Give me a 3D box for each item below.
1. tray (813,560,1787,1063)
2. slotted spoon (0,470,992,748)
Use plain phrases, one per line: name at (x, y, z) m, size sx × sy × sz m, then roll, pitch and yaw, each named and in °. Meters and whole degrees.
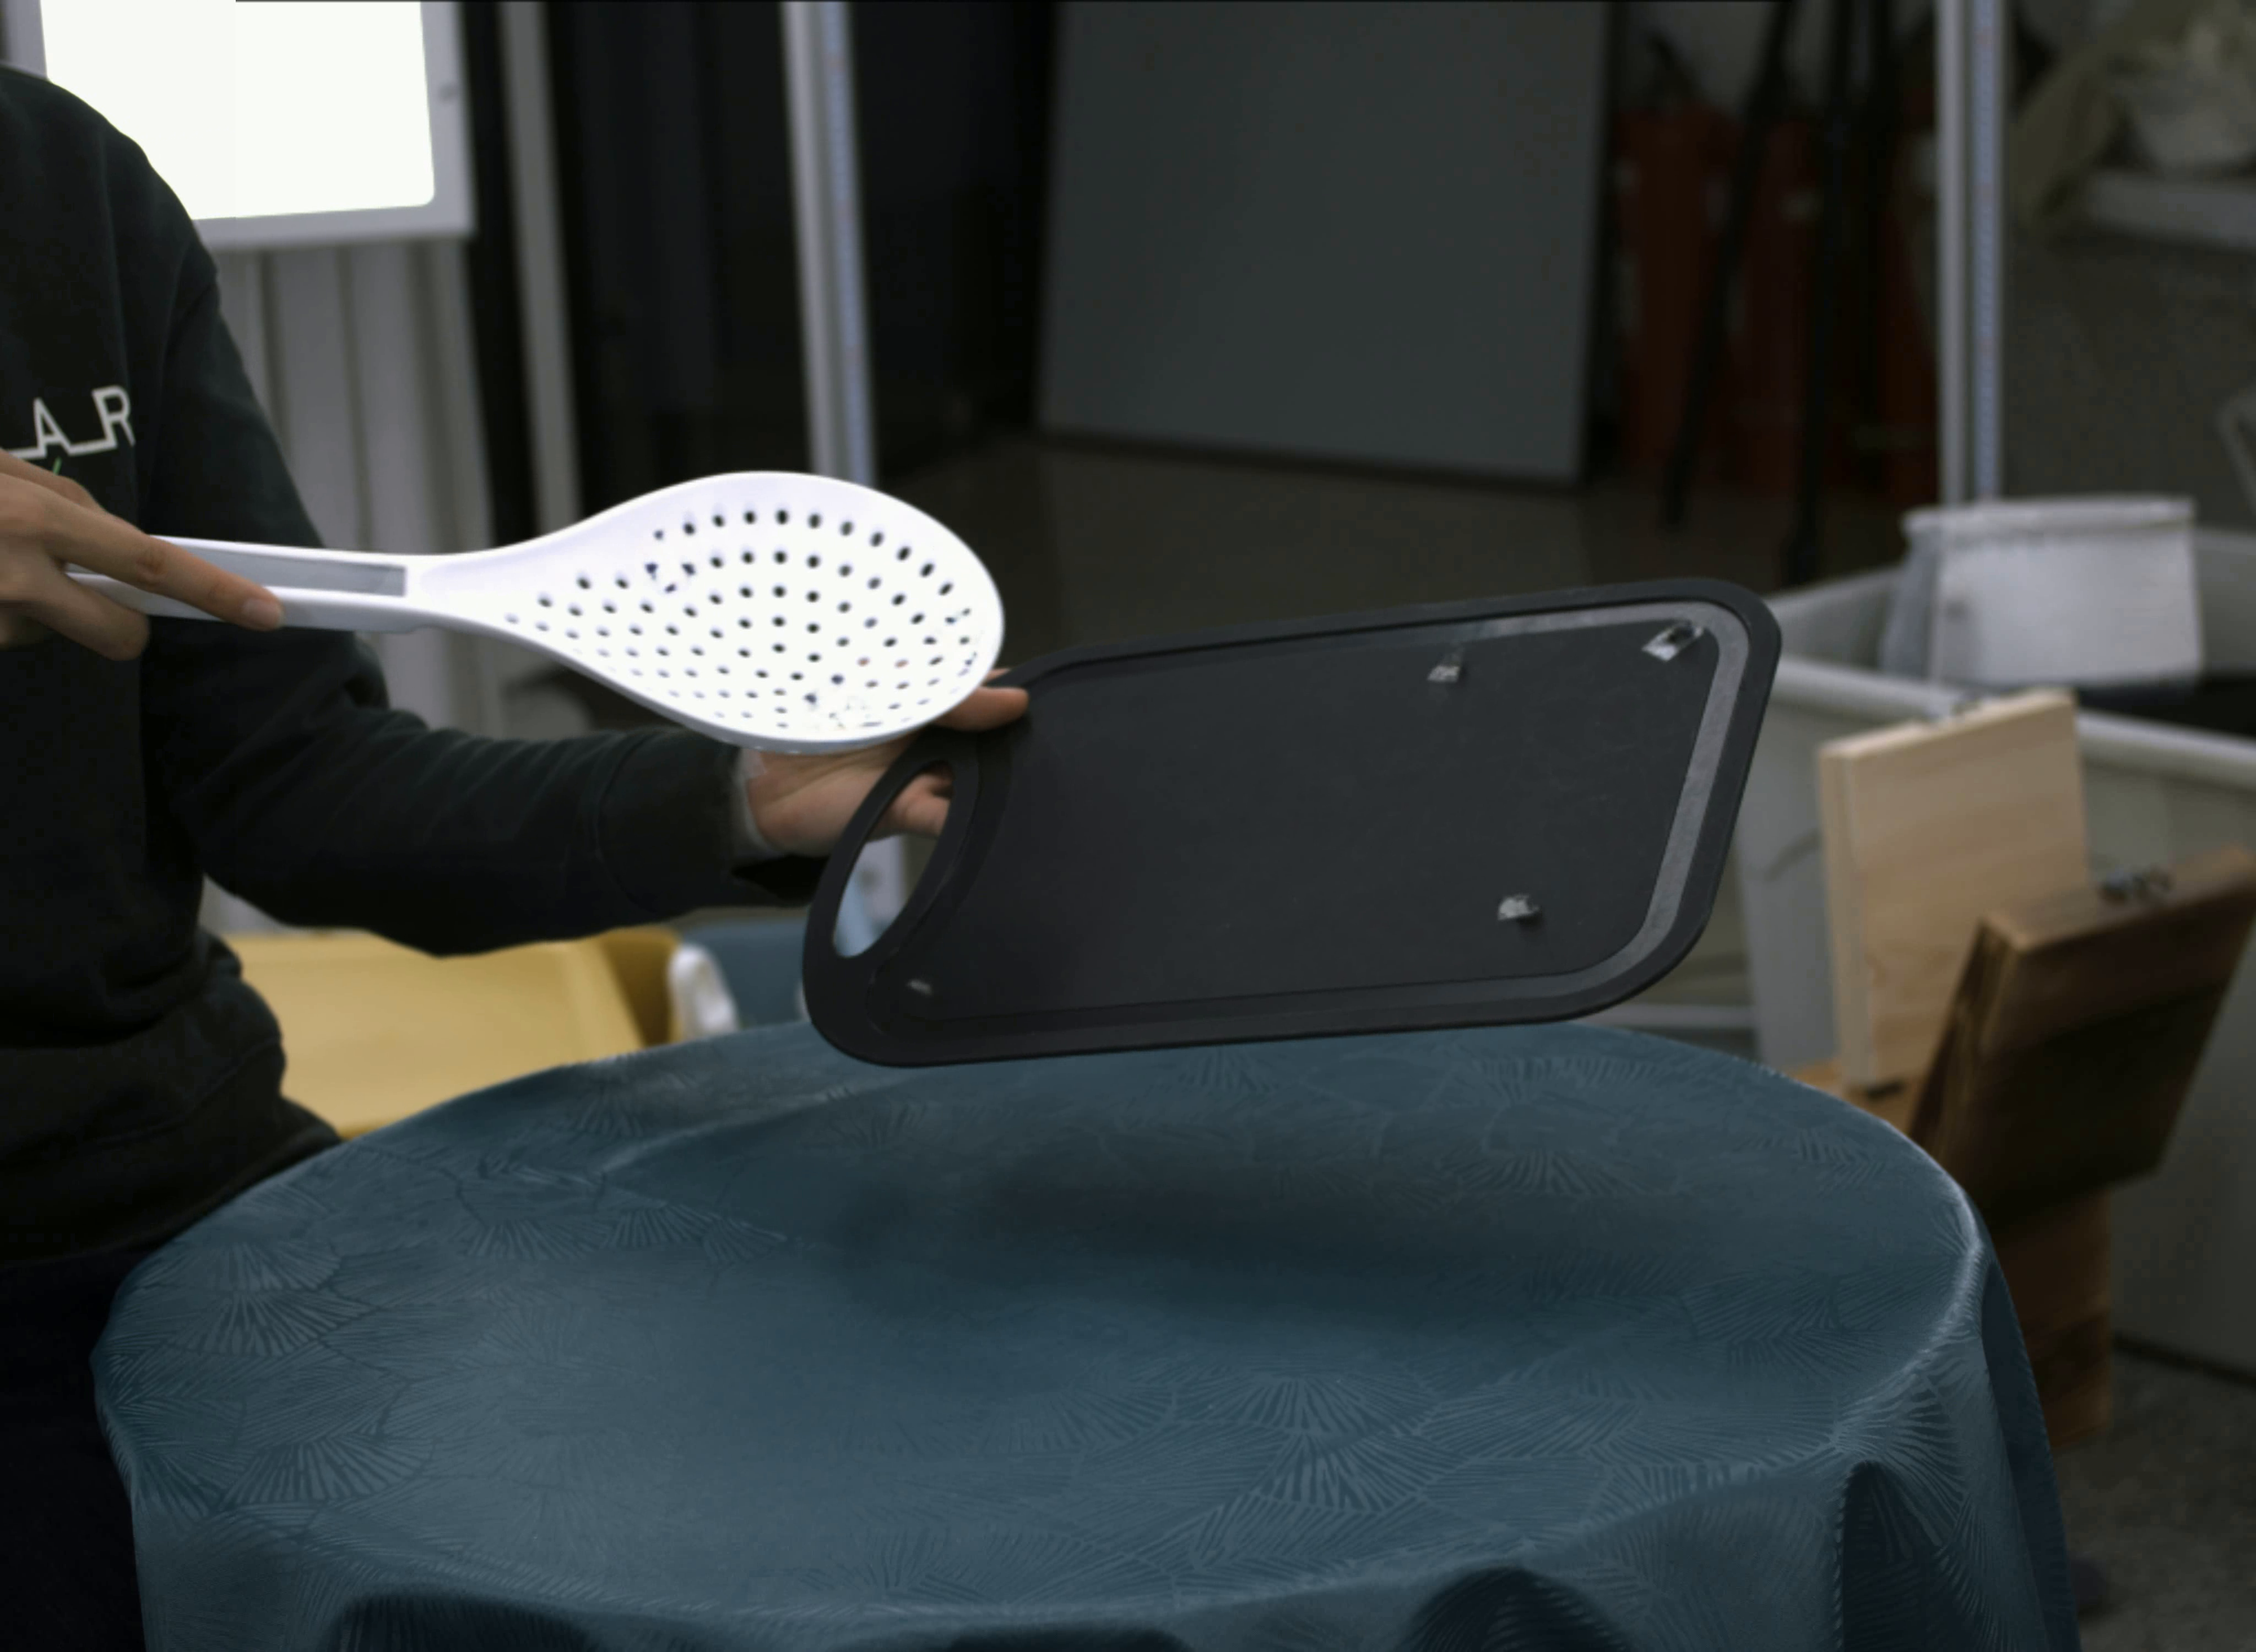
tray at (0.047, -0.005, 1.730) m, size 0.326 × 0.010 × 0.211 m, roll -6°, pitch 39°, yaw 26°
slotted spoon at (-0.217, -0.075, 1.722) m, size 0.343 × 0.046 × 0.137 m, roll 8°, pitch 38°, yaw -10°
